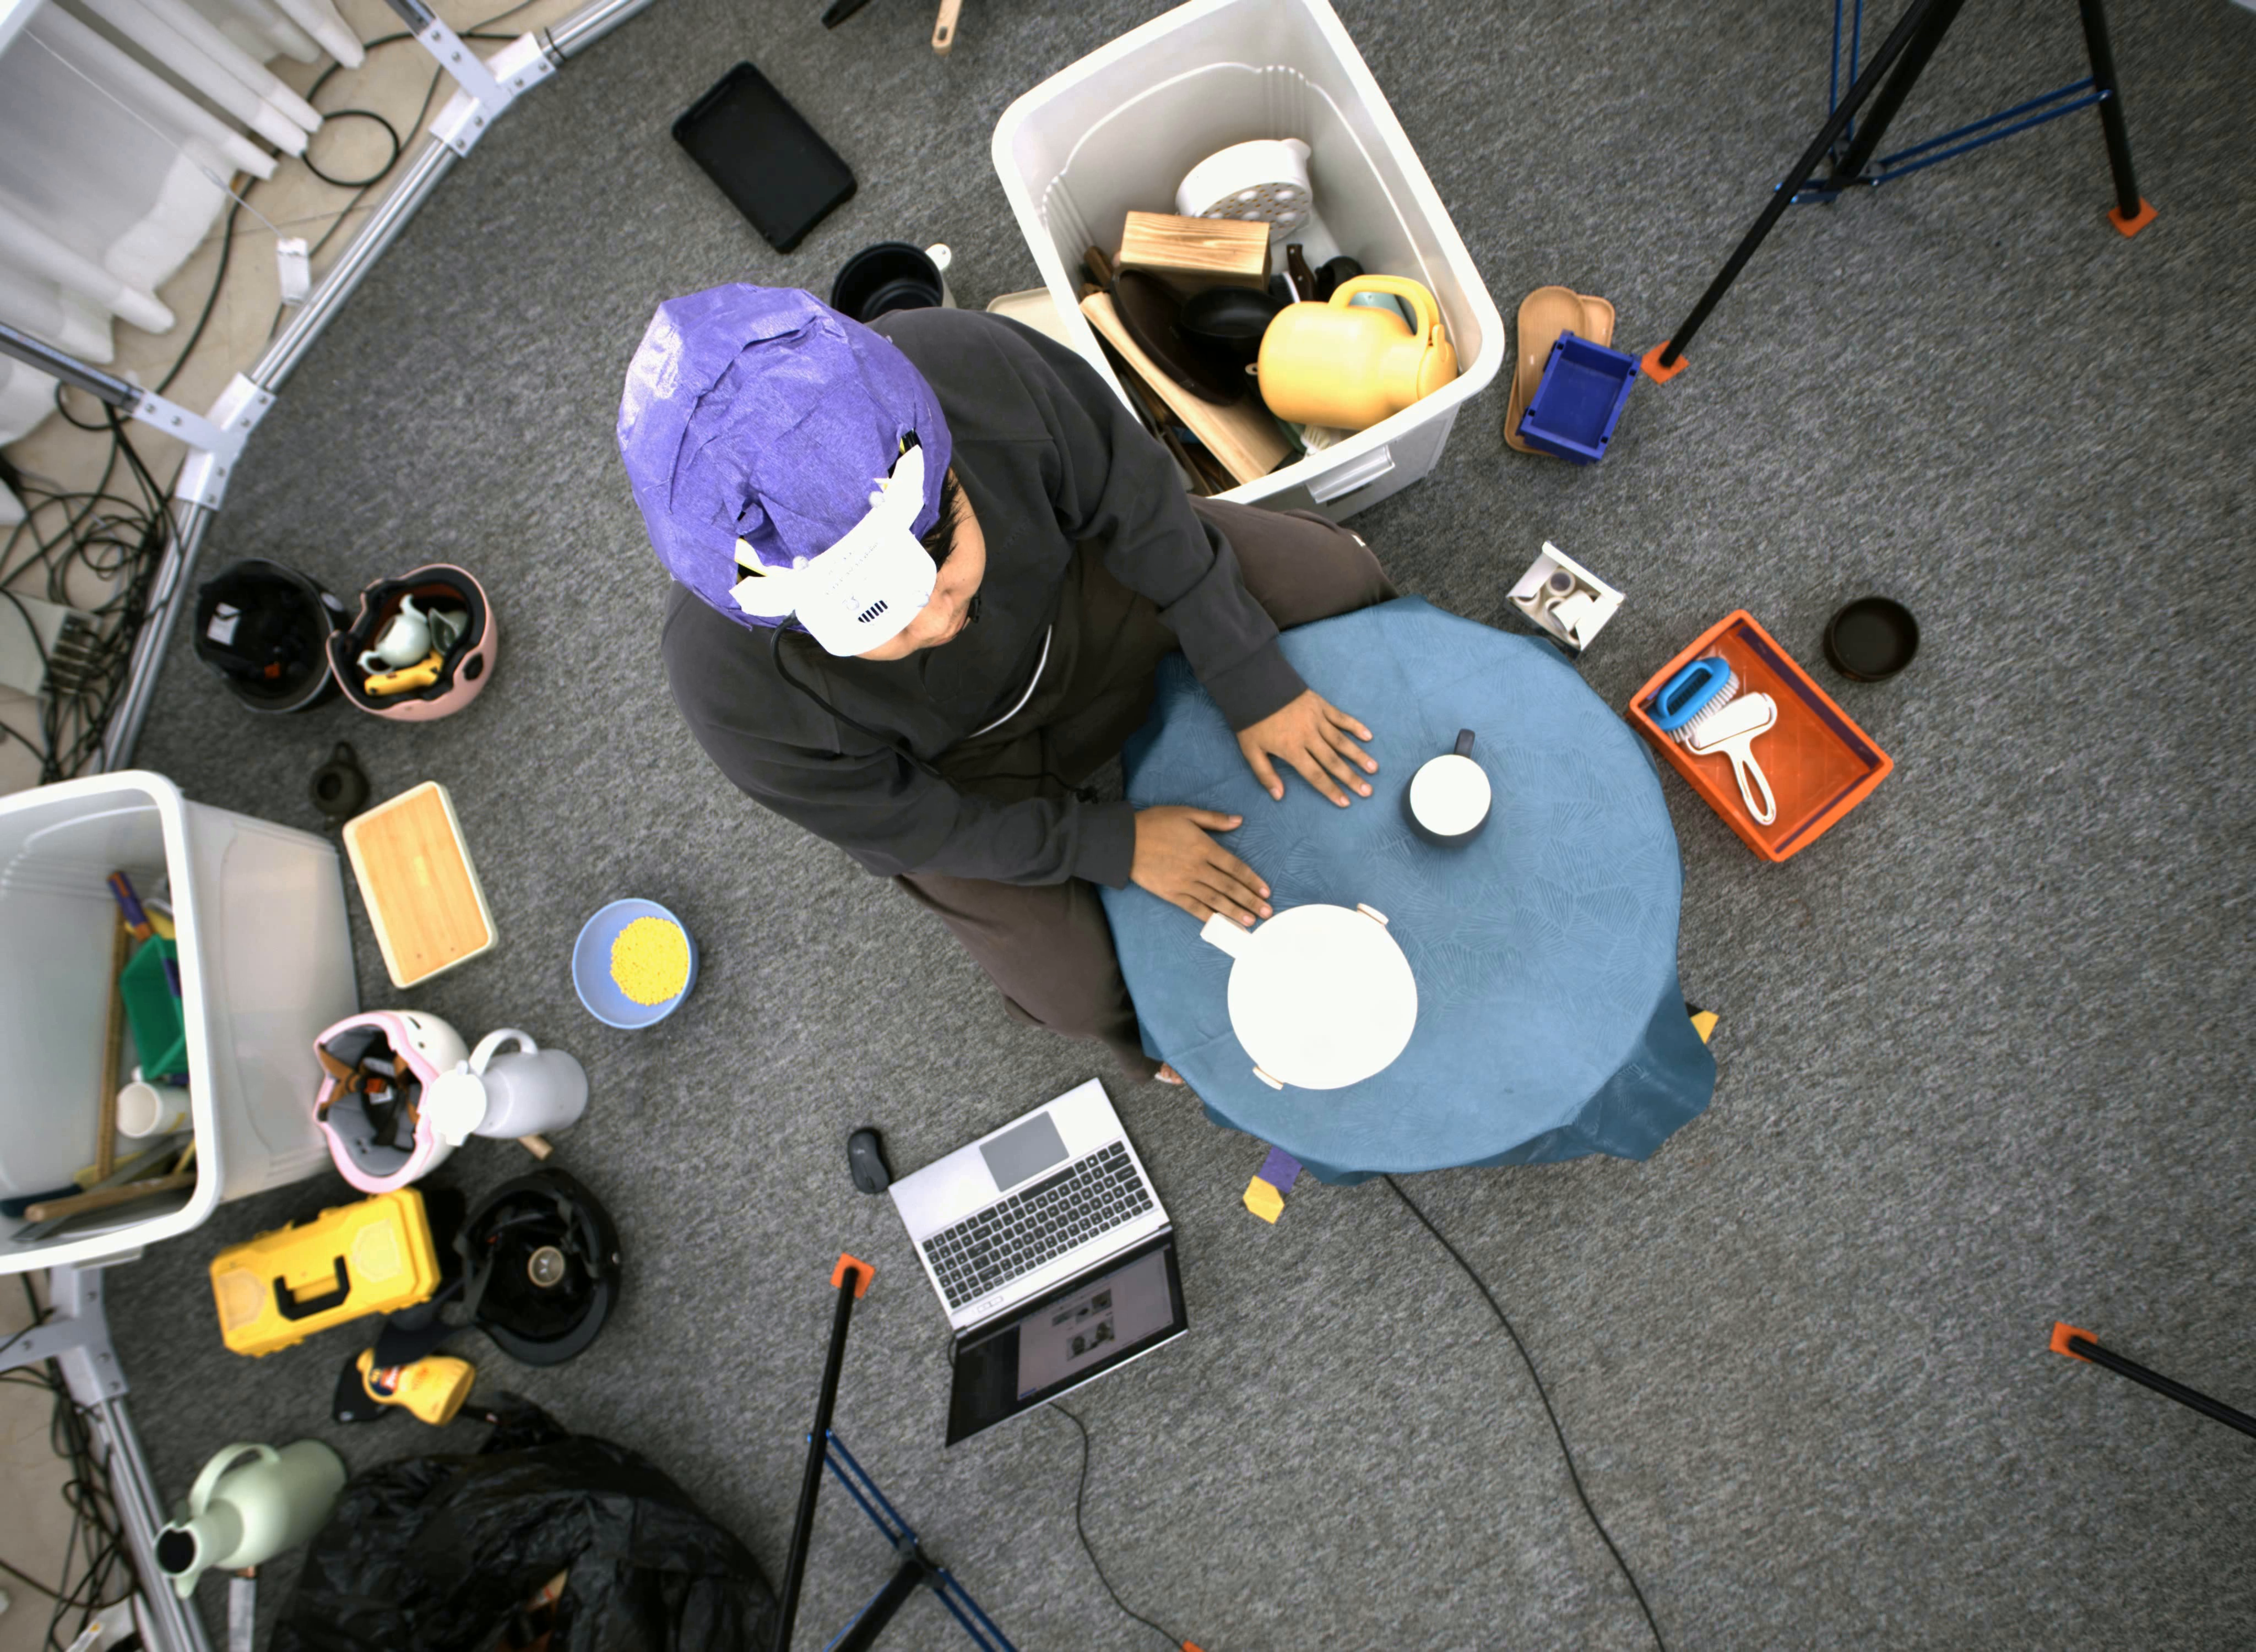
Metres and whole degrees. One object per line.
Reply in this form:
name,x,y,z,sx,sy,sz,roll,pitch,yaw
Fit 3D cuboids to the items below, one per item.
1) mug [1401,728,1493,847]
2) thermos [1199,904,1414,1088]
mug,0.333,-0.043,1.410,0.093,0.090,0.123,19,89,12
thermos,0.166,0.147,1.275,0.206,0.407,0.175,32,90,11
